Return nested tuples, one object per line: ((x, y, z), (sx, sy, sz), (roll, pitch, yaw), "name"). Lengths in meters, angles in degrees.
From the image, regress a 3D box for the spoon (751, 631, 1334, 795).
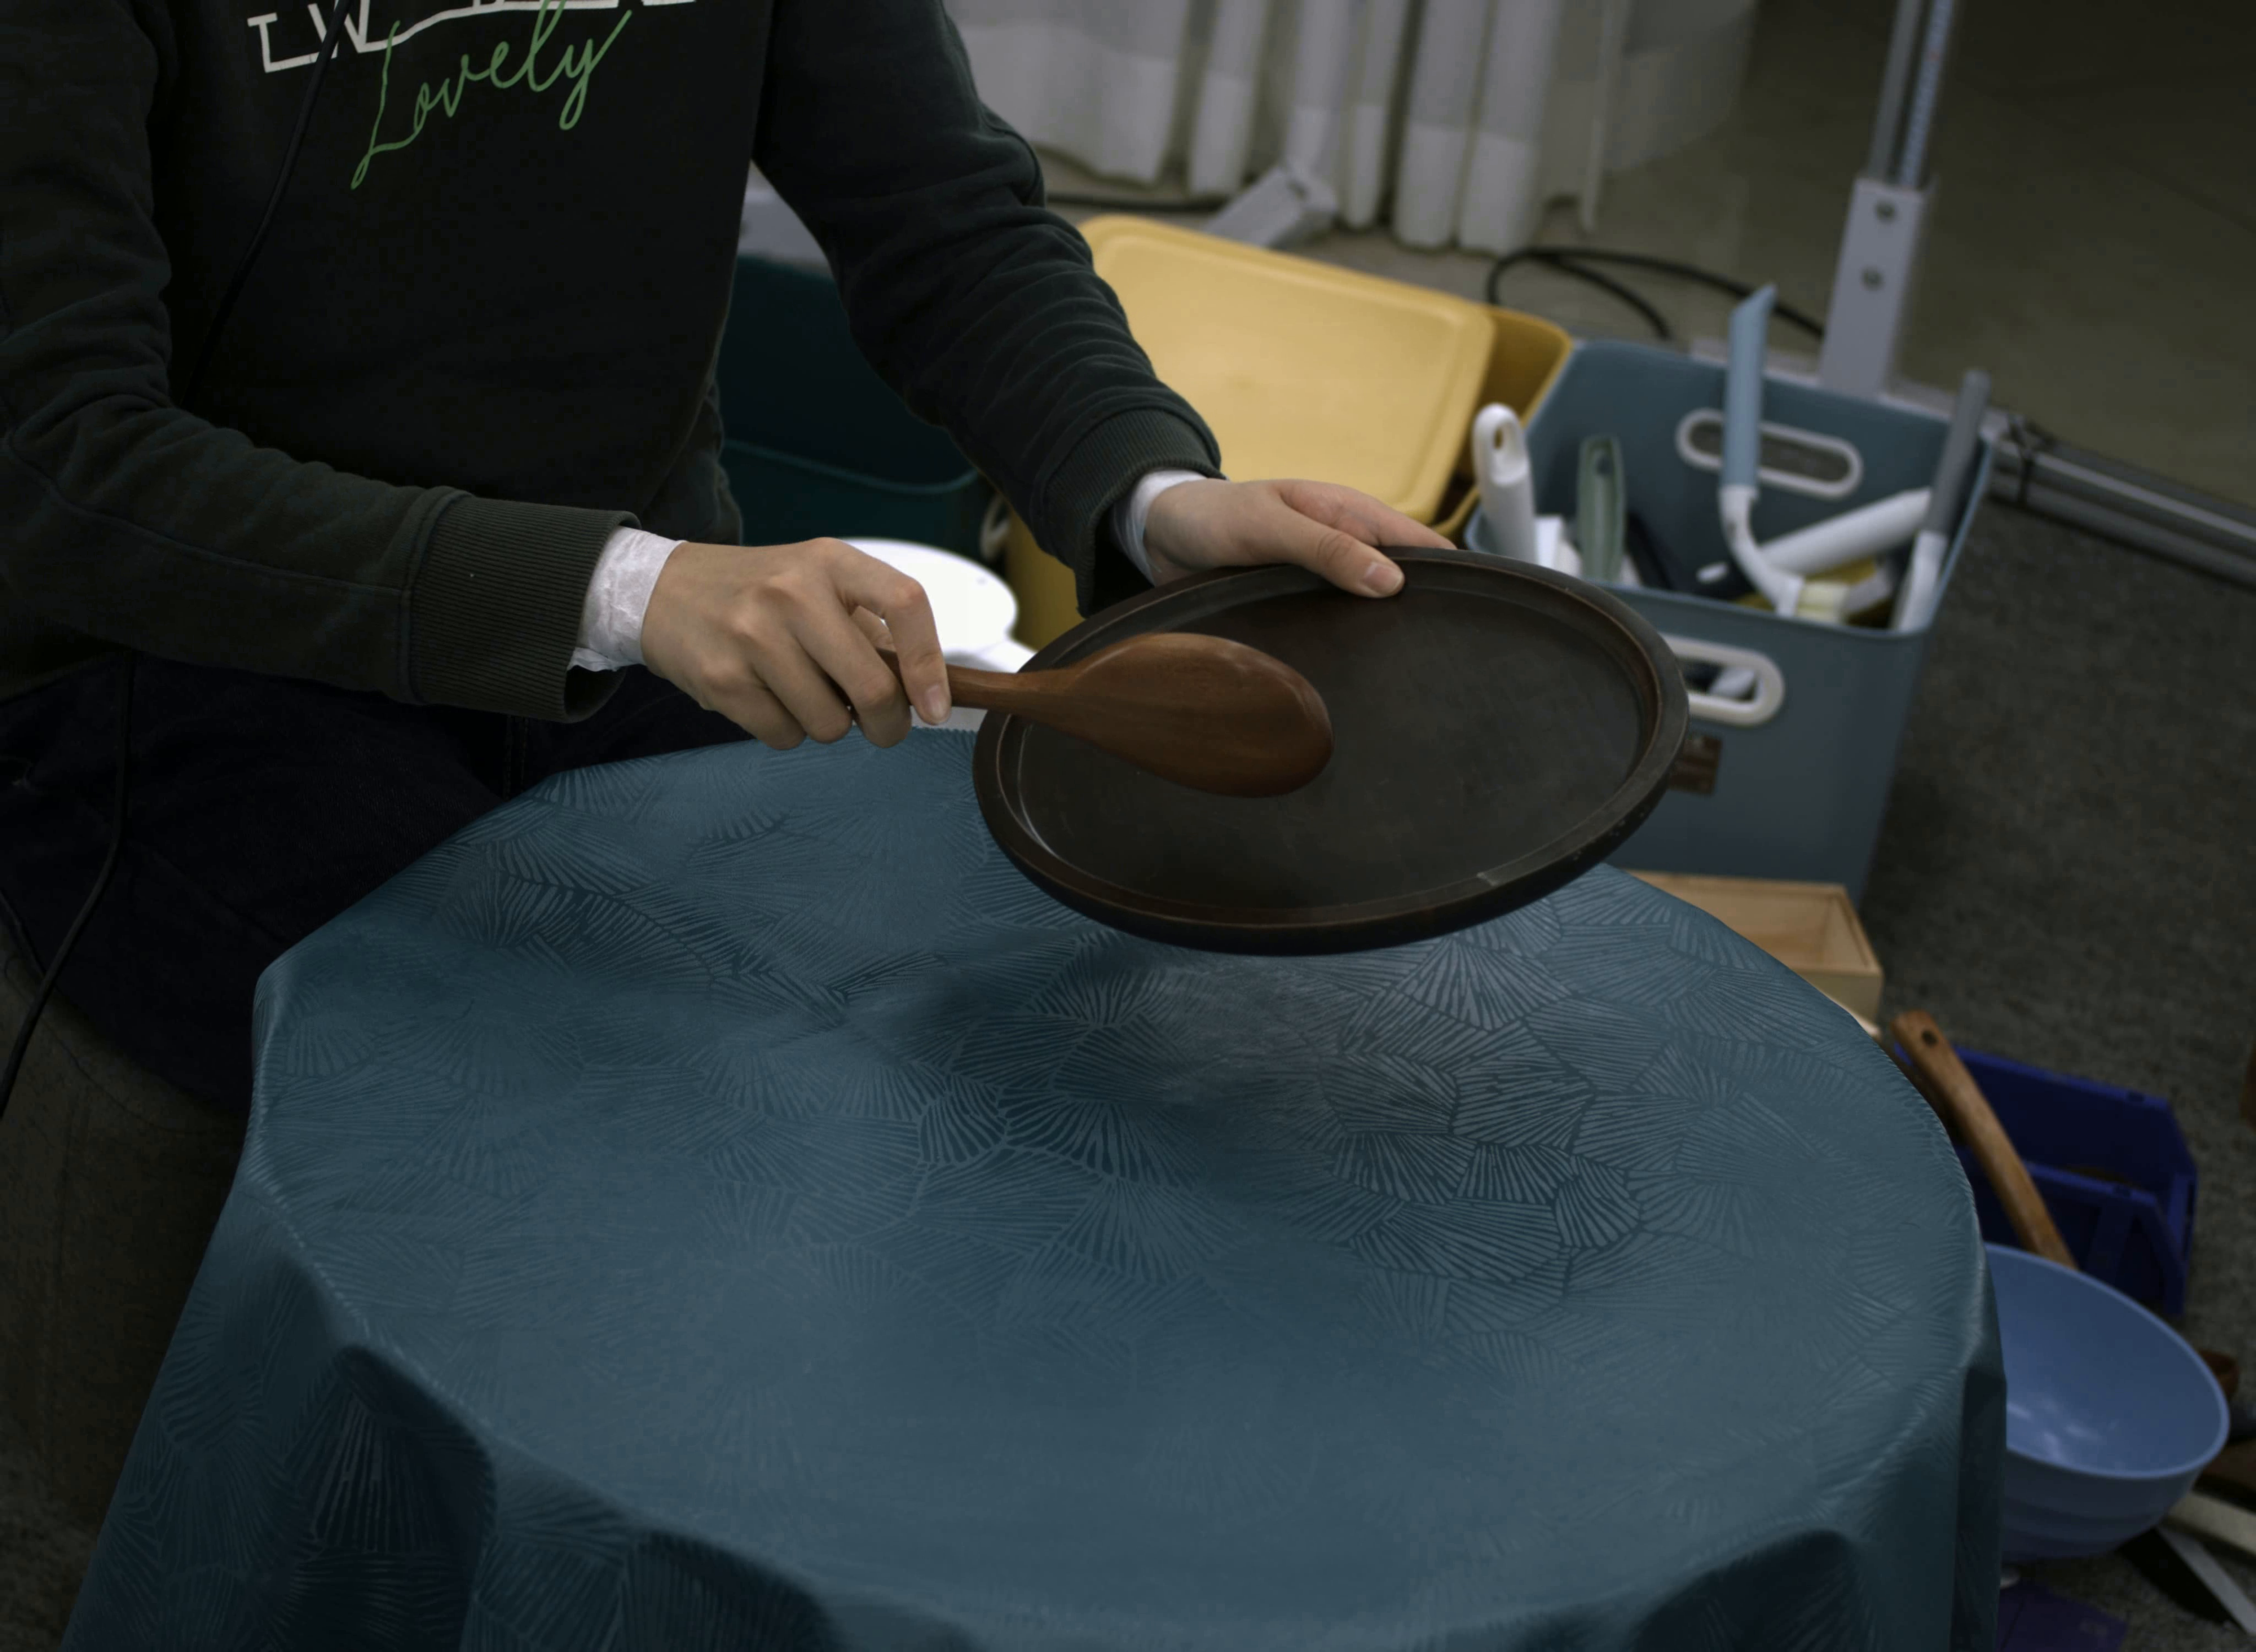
((-0.032, -0.043, 1.814), (0.216, 0.075, 0.017), (8, 51, 24), "spoon")

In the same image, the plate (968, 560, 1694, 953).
((0.072, -0.027, 1.864), (0.254, 0.029, 0.256), (-5, 31, 3), "plate")
